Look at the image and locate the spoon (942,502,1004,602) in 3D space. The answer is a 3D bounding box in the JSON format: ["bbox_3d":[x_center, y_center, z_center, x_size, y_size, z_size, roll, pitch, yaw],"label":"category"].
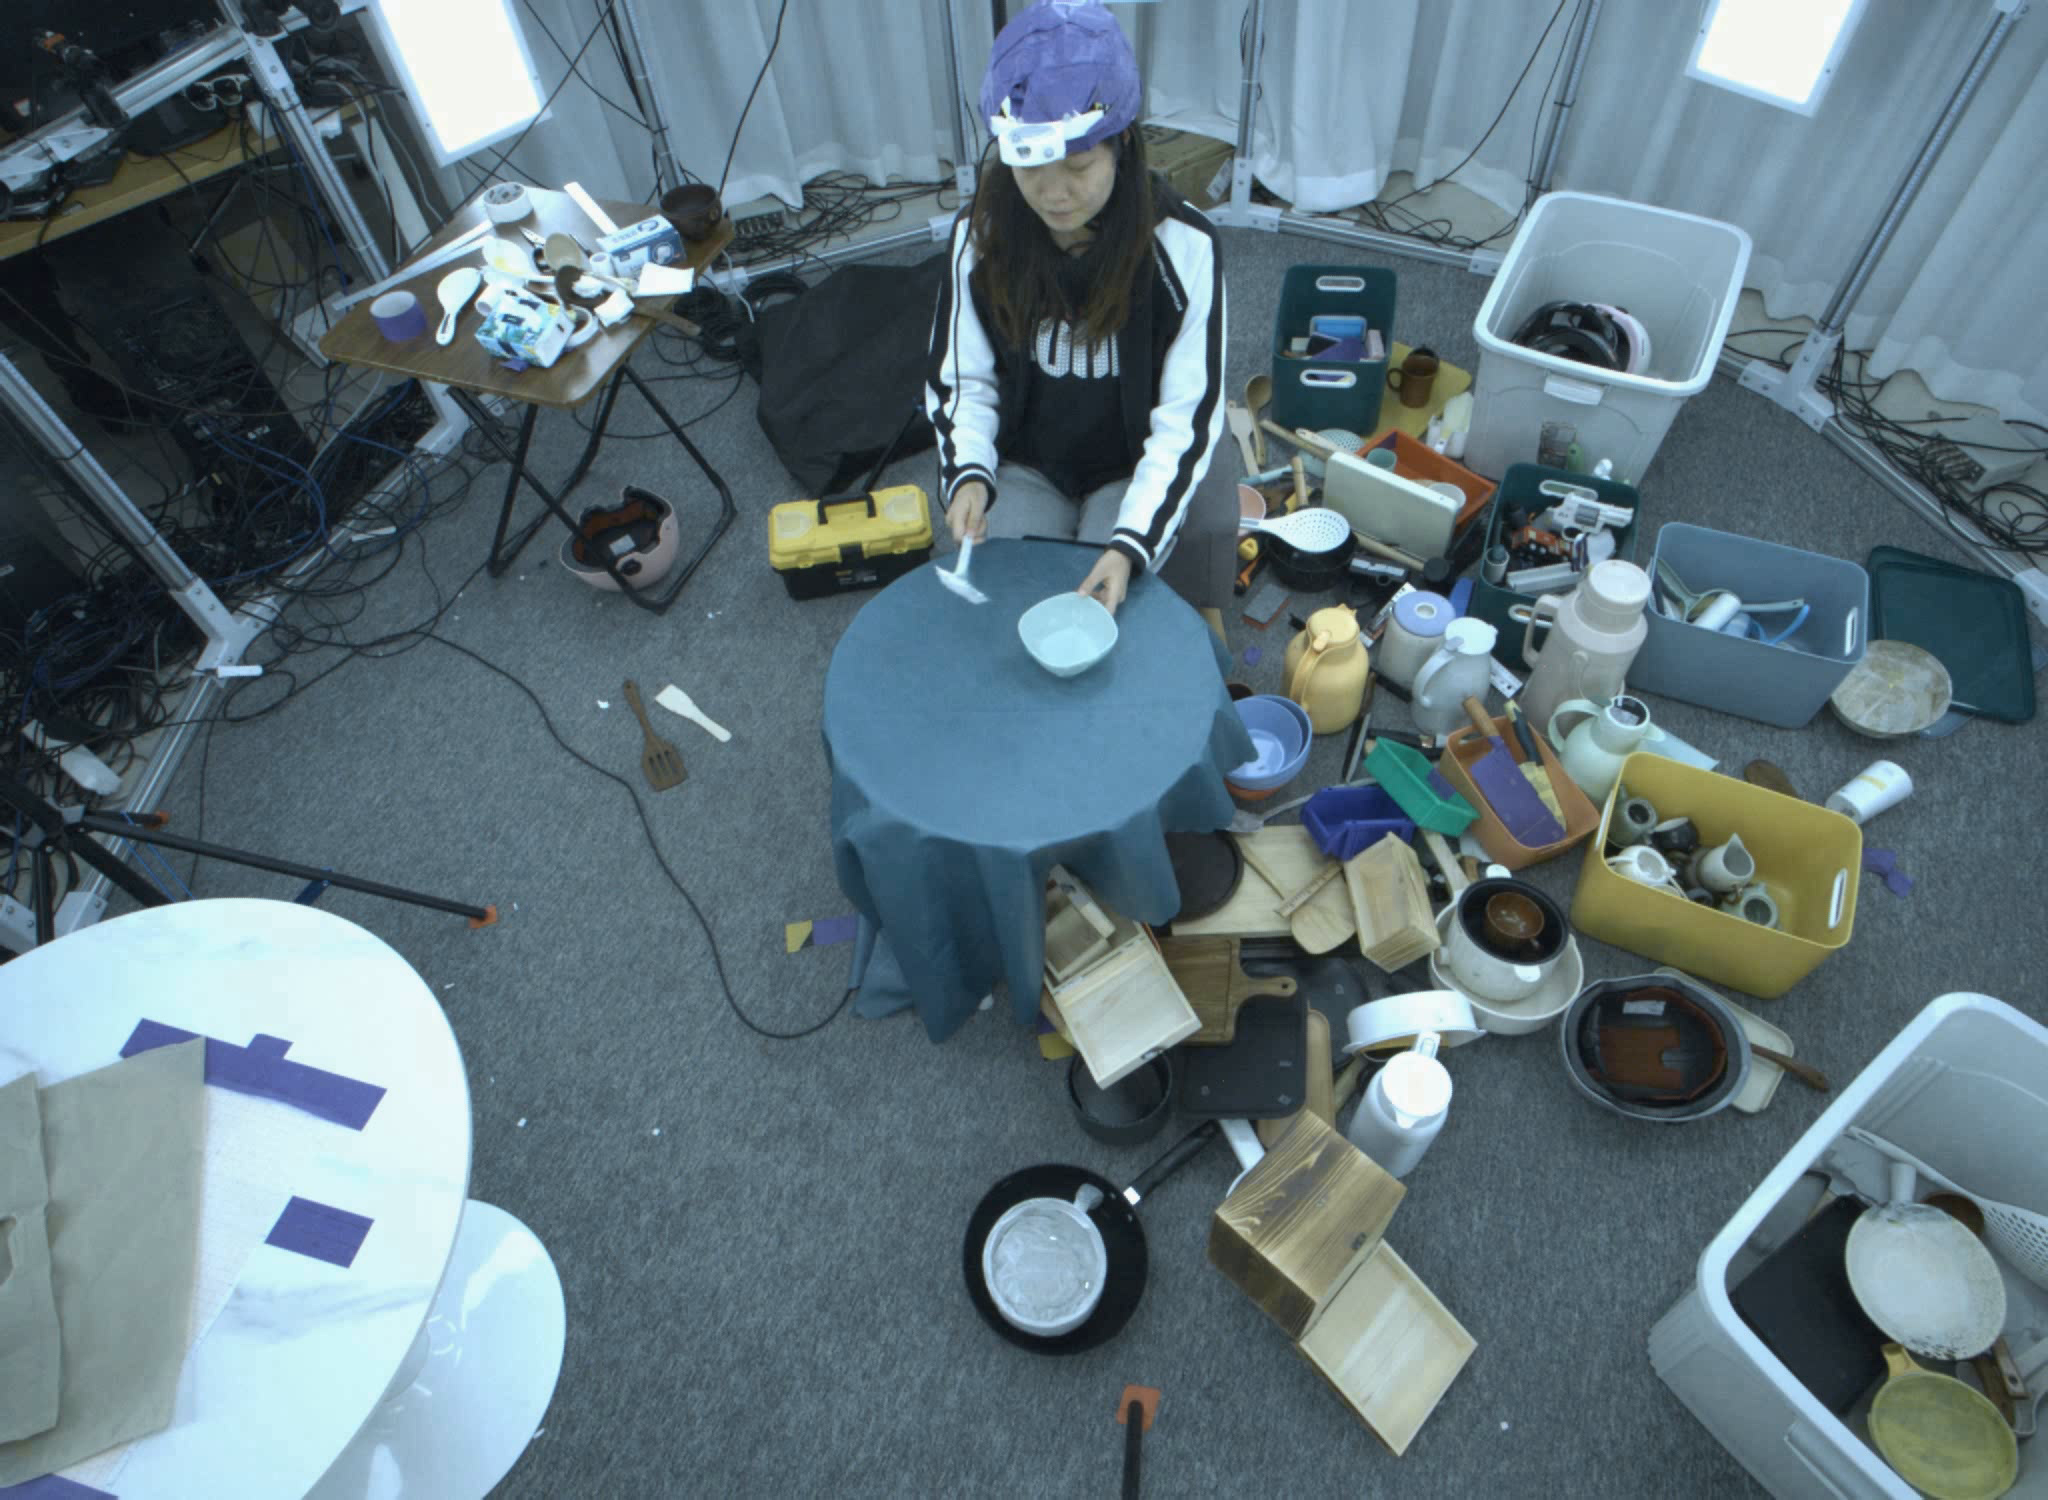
[{"bbox_3d":[-0.063,-0.306,1.822,0.102,0.059,0.275,31,42,-20],"label":"spoon"}]

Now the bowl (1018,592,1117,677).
[{"bbox_3d":[0.067,-0.166,1.871,0.151,0.059,0.150,0,55,2],"label":"bowl"}]
